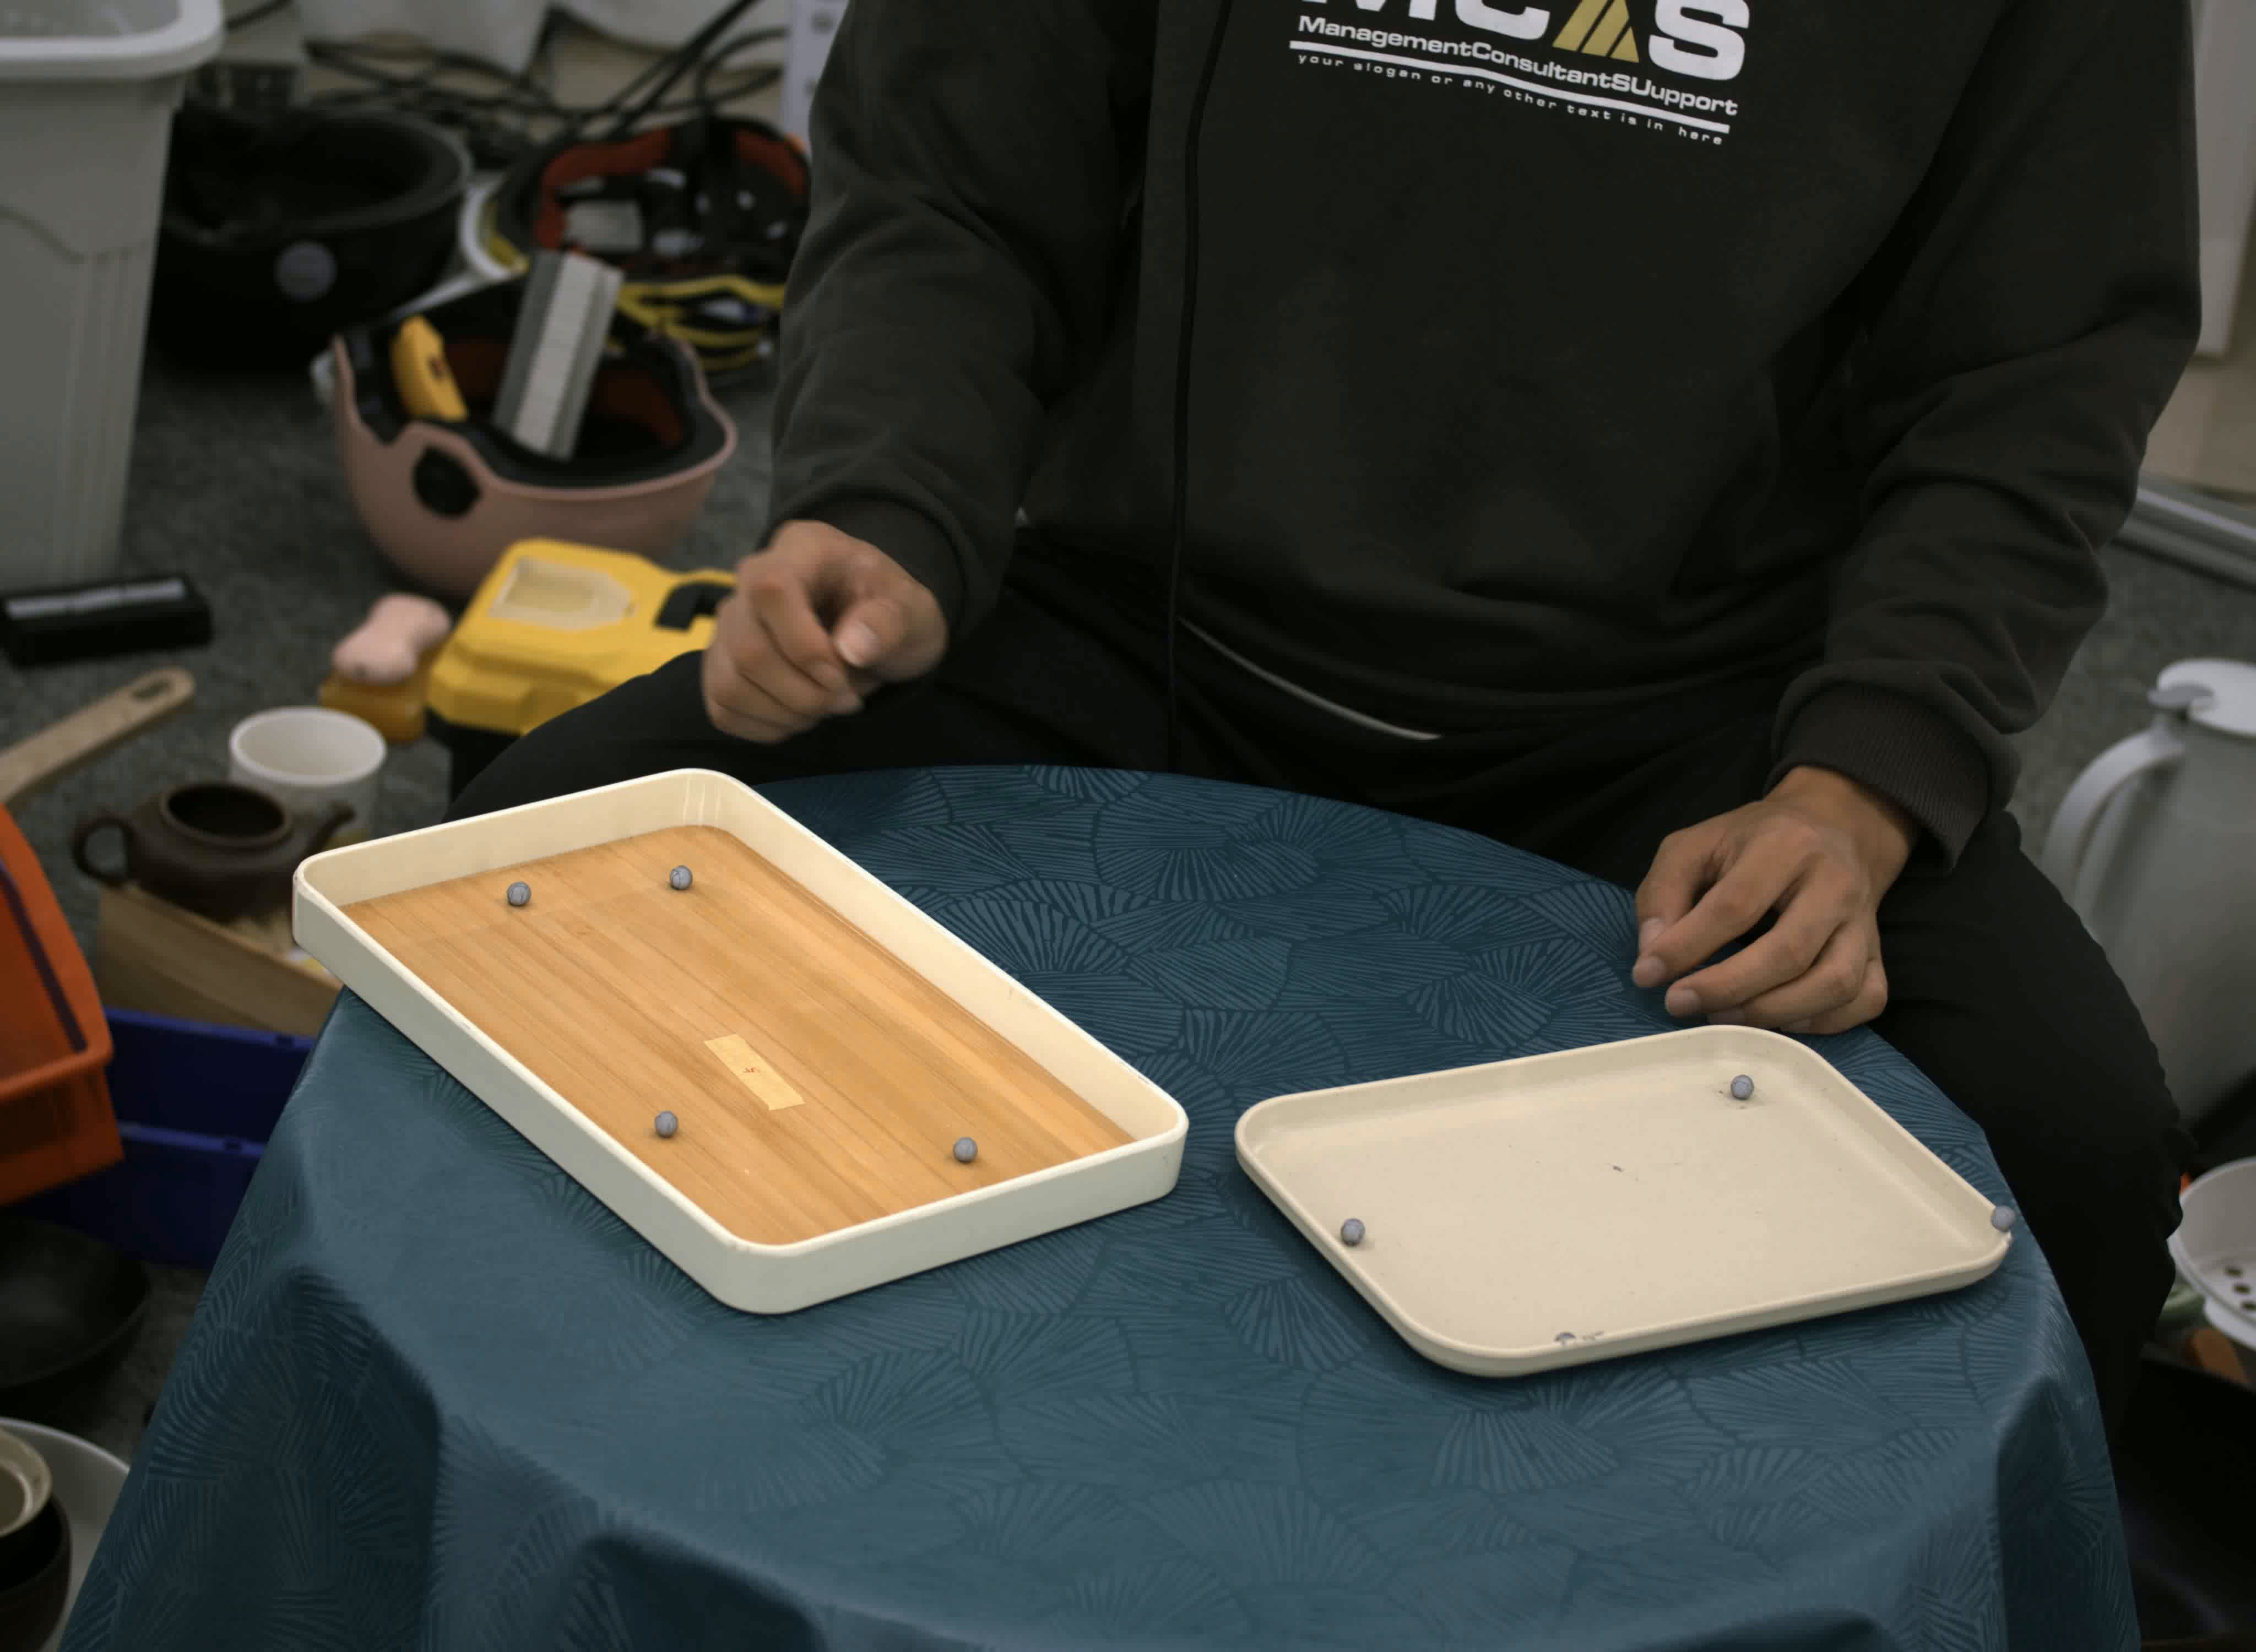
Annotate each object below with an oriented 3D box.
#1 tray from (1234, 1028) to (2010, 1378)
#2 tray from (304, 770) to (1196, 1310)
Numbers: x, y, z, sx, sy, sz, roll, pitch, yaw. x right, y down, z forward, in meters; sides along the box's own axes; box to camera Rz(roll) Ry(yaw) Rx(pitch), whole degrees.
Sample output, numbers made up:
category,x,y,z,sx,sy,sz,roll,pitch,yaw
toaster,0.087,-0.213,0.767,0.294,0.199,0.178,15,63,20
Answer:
category,x,y,z,sx,sy,sz,roll,pitch,yaw
tray,0.168,0.128,1.819,0.238,0.017,0.173,-8,29,-27
tray,-0.136,0.068,1.853,0.190,0.027,0.303,-14,34,-36
